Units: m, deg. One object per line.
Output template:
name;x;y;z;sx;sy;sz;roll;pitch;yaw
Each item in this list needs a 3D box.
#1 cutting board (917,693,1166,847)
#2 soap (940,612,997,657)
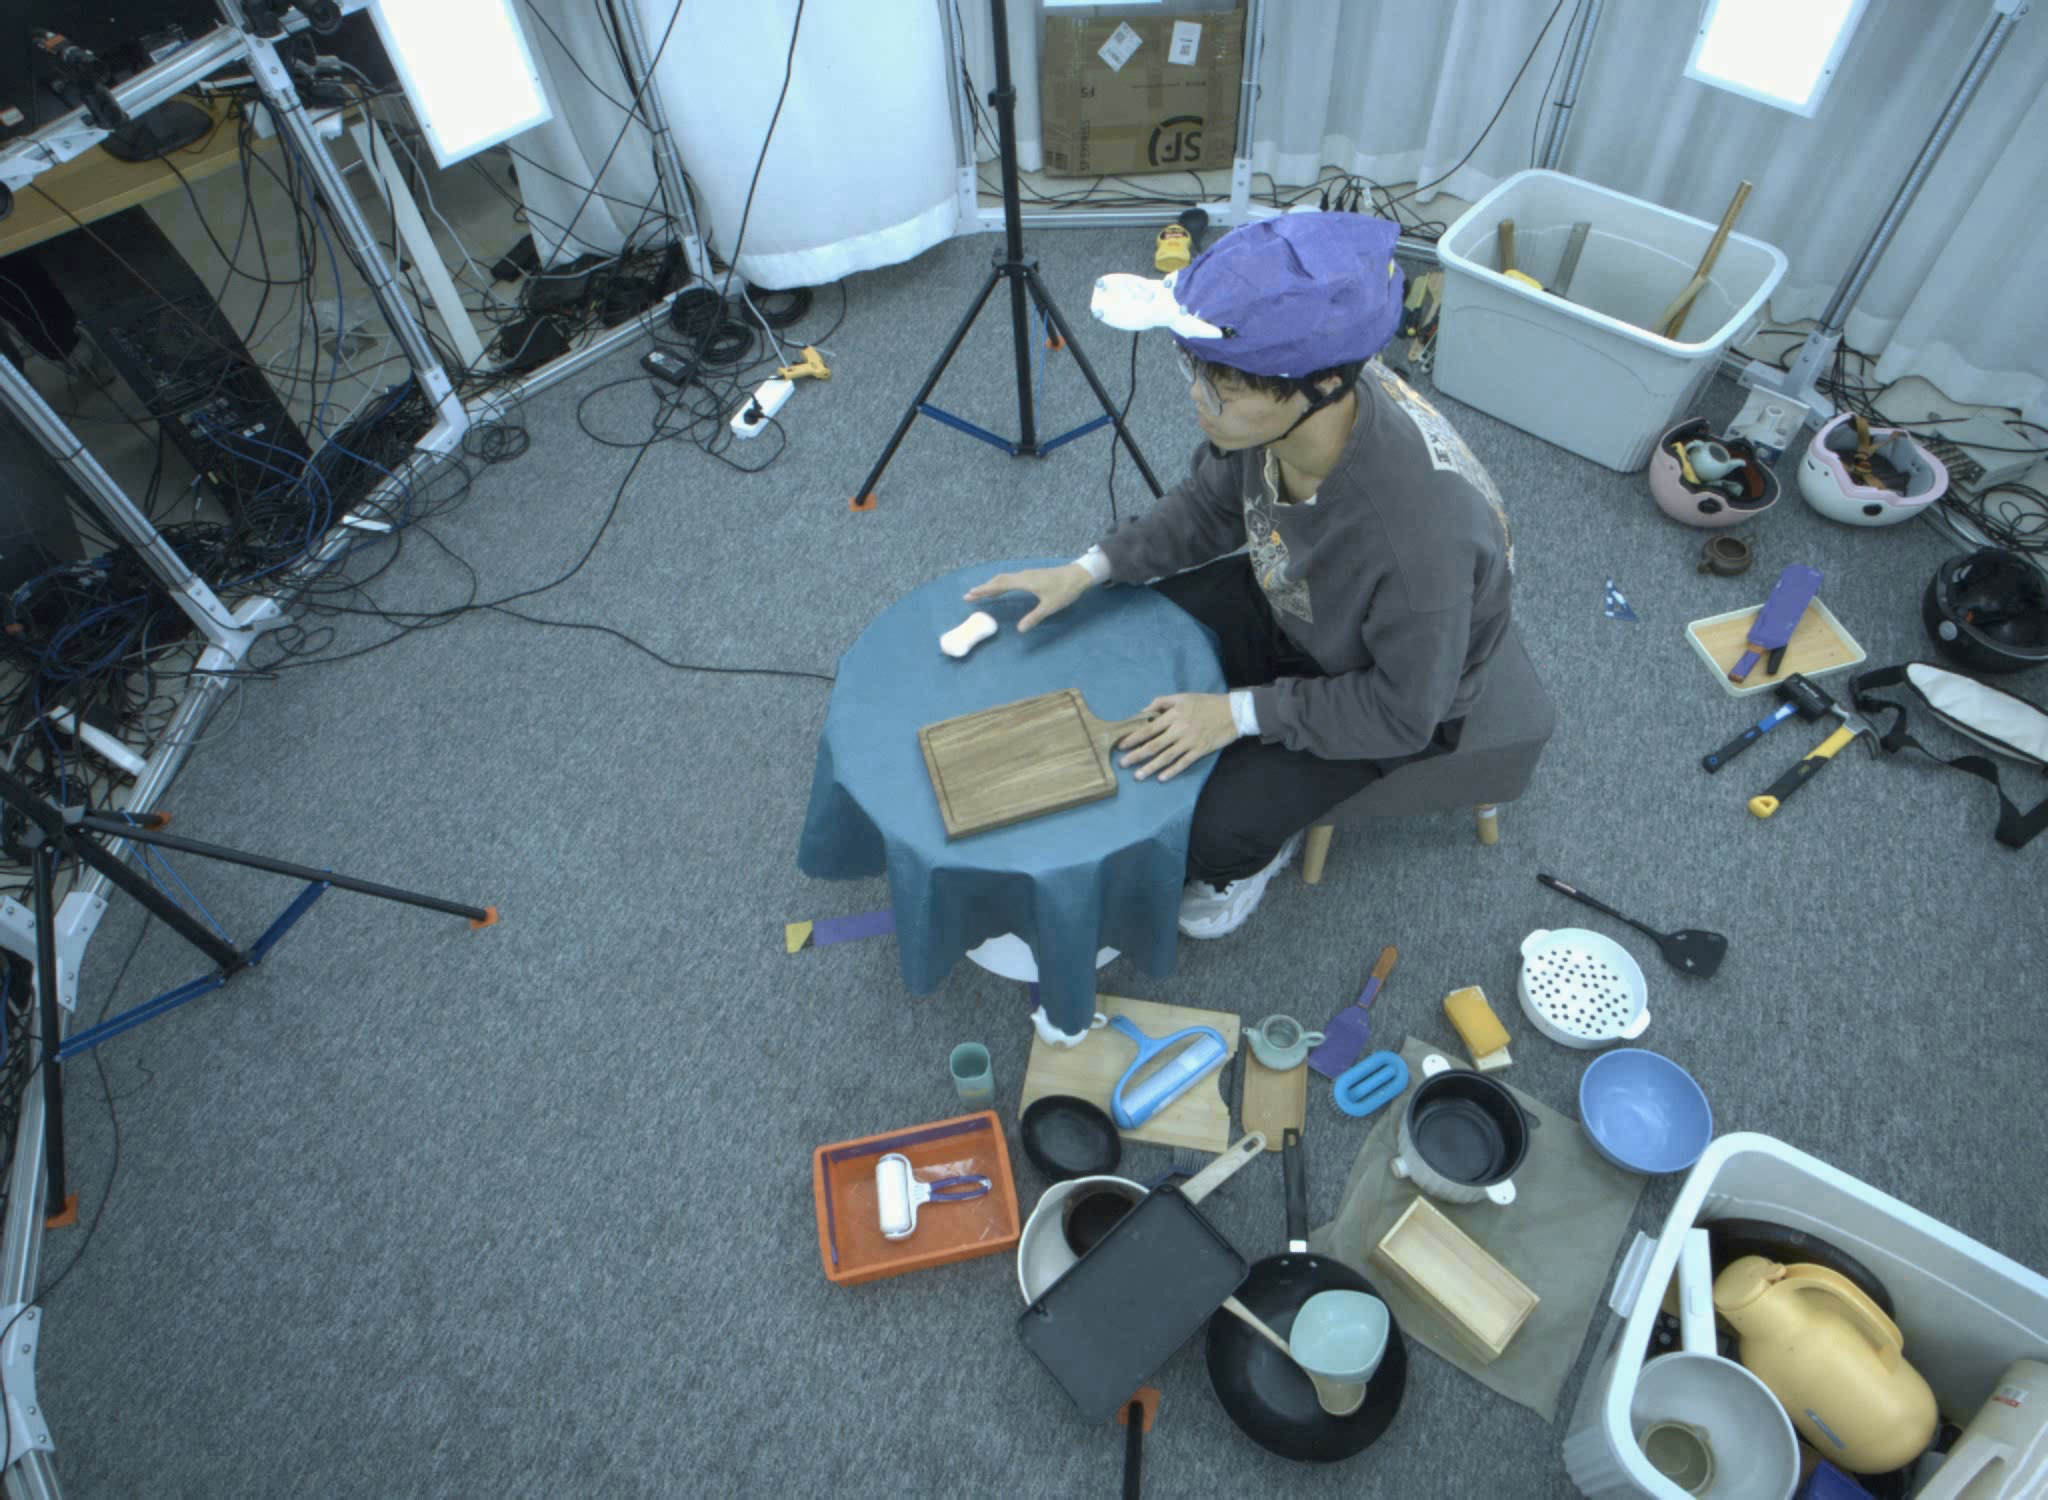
cutting board;0.036;0.012;1.762;0.354;0.023;0.198;-14;55;-8
soap;-0.086;-0.179;1.900;0.095;0.031;0.049;-37;62;-24
